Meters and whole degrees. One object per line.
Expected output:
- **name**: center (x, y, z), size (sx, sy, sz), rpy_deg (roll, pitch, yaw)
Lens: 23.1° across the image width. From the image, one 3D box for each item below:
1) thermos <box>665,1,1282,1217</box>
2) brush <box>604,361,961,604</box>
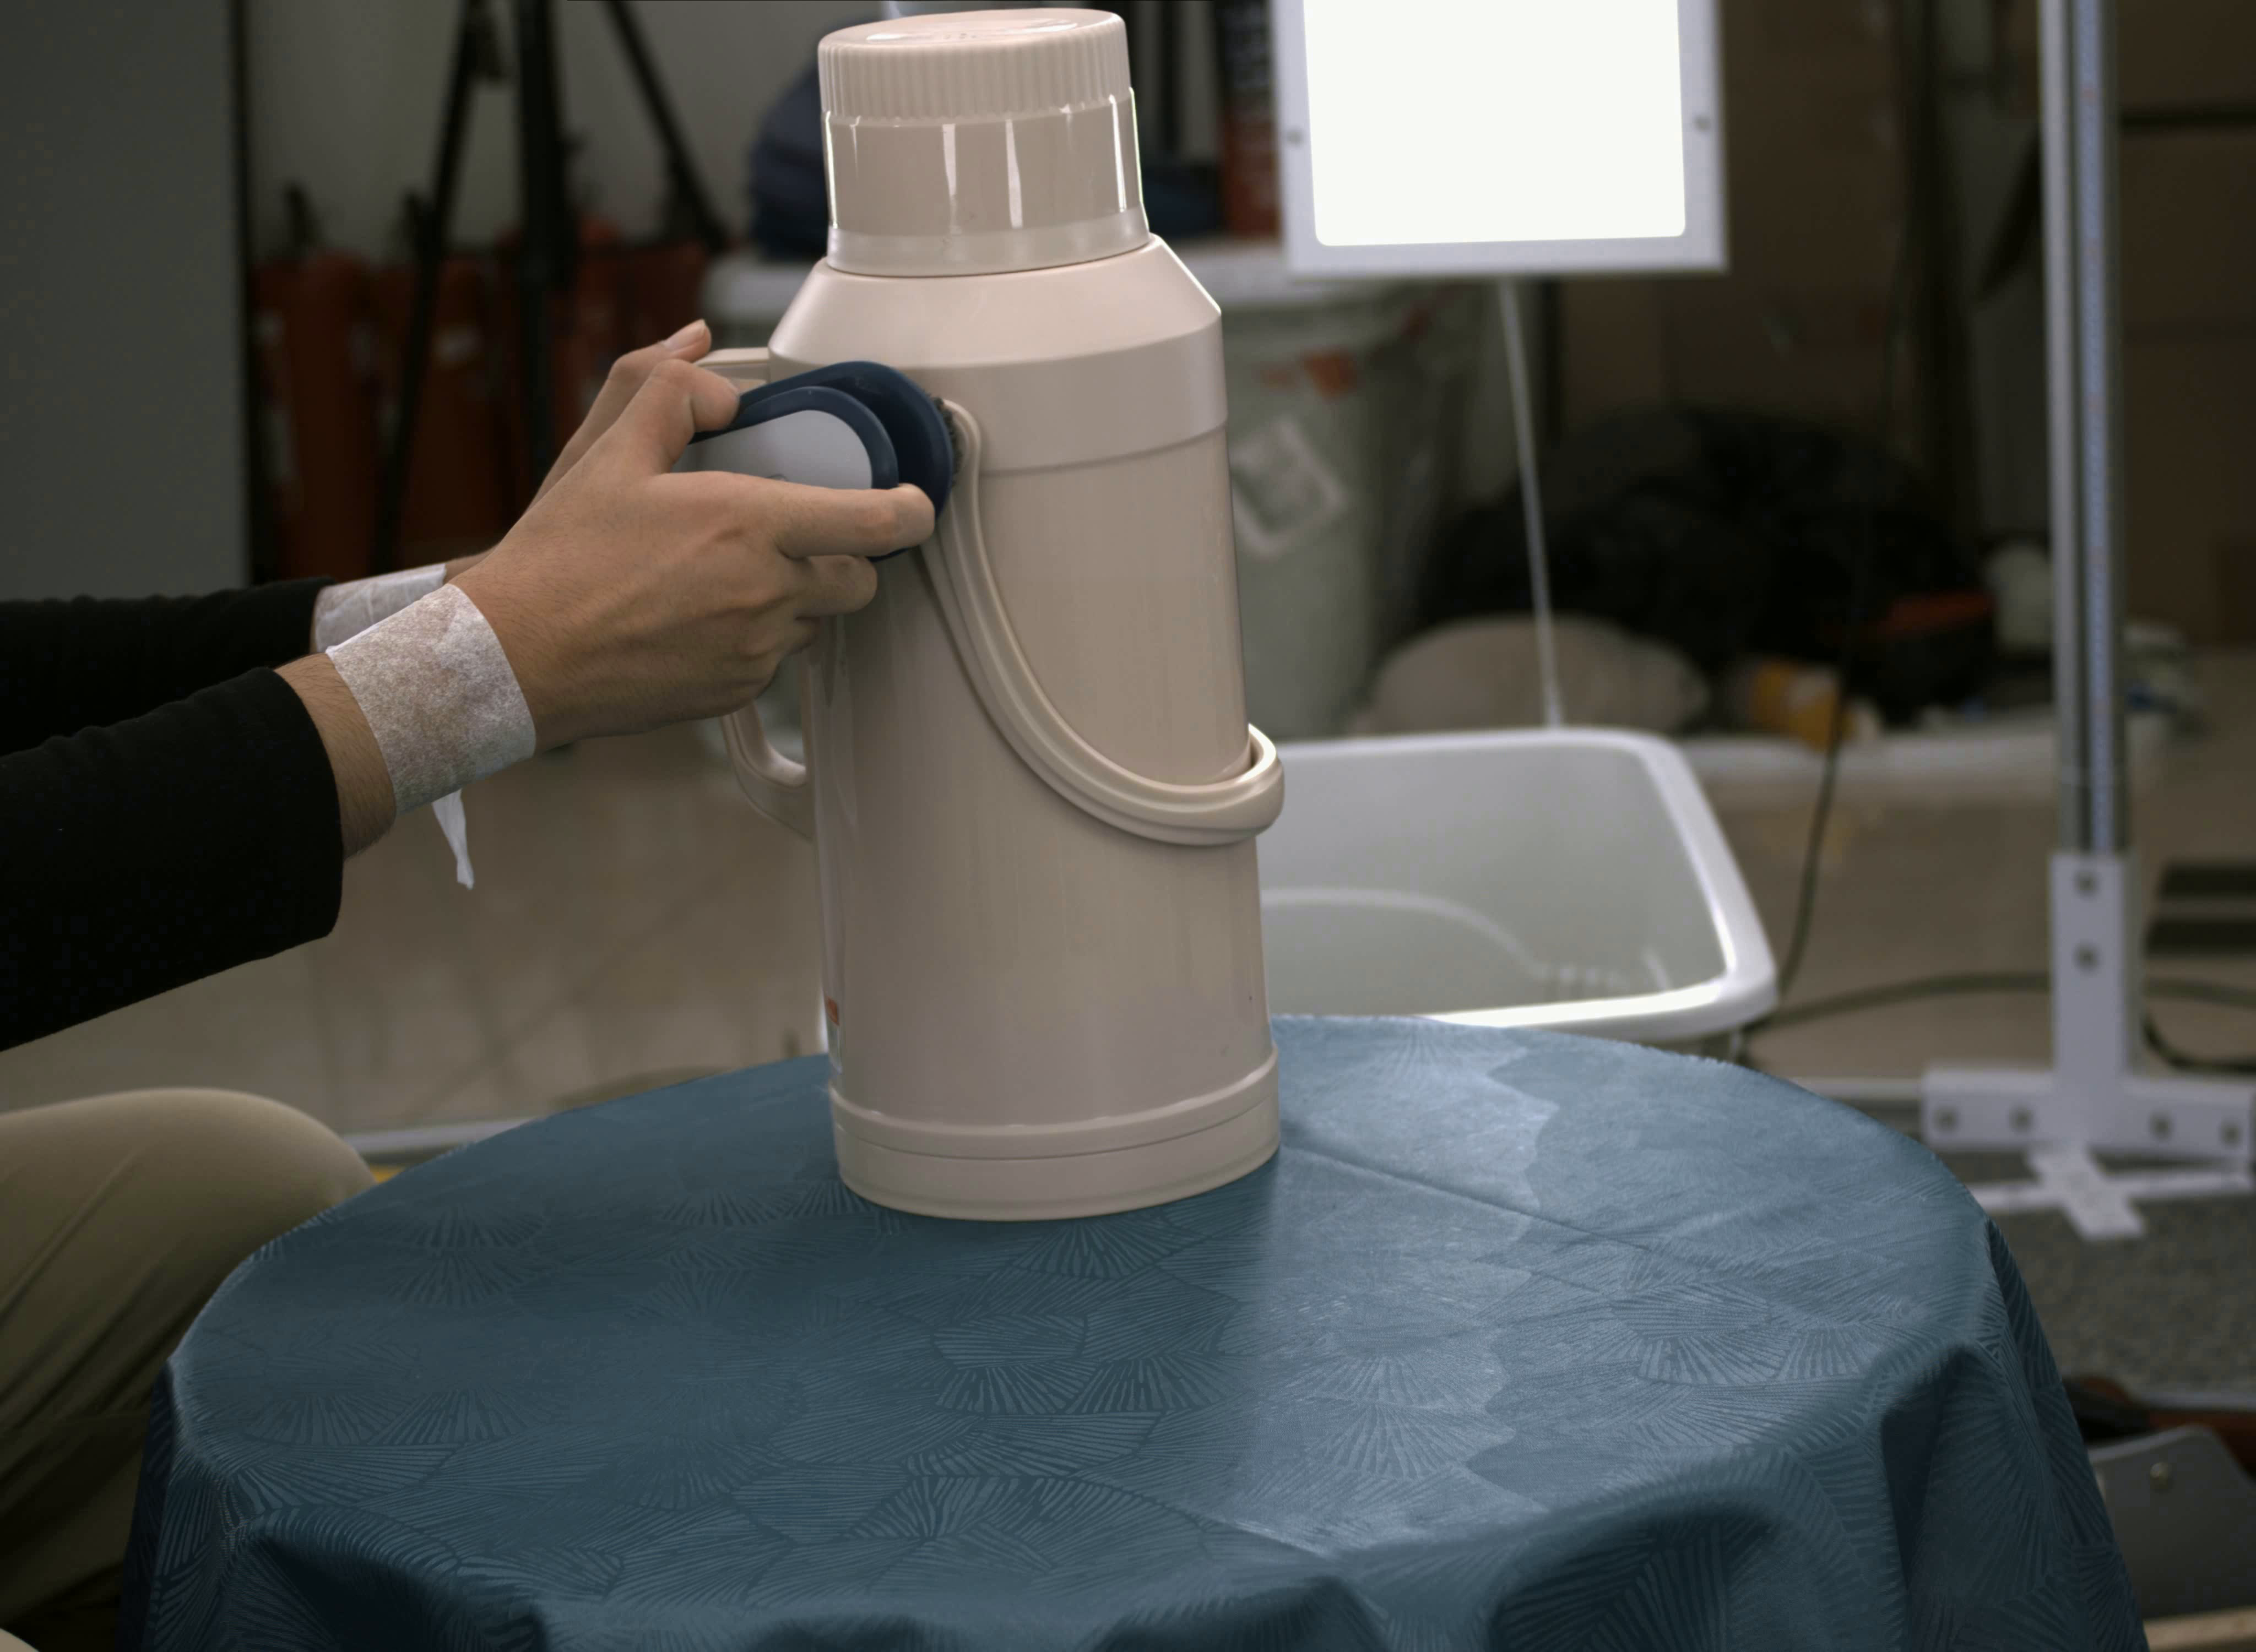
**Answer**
- **thermos**: center (-0.053, -0.077, 1.911), size (0.209, 0.408, 0.173), rpy_deg (-1, 16, 14)
- **brush**: center (-0.111, -0.112, 1.806), size (0.124, 0.068, 0.060), rpy_deg (-12, 6, 29)
